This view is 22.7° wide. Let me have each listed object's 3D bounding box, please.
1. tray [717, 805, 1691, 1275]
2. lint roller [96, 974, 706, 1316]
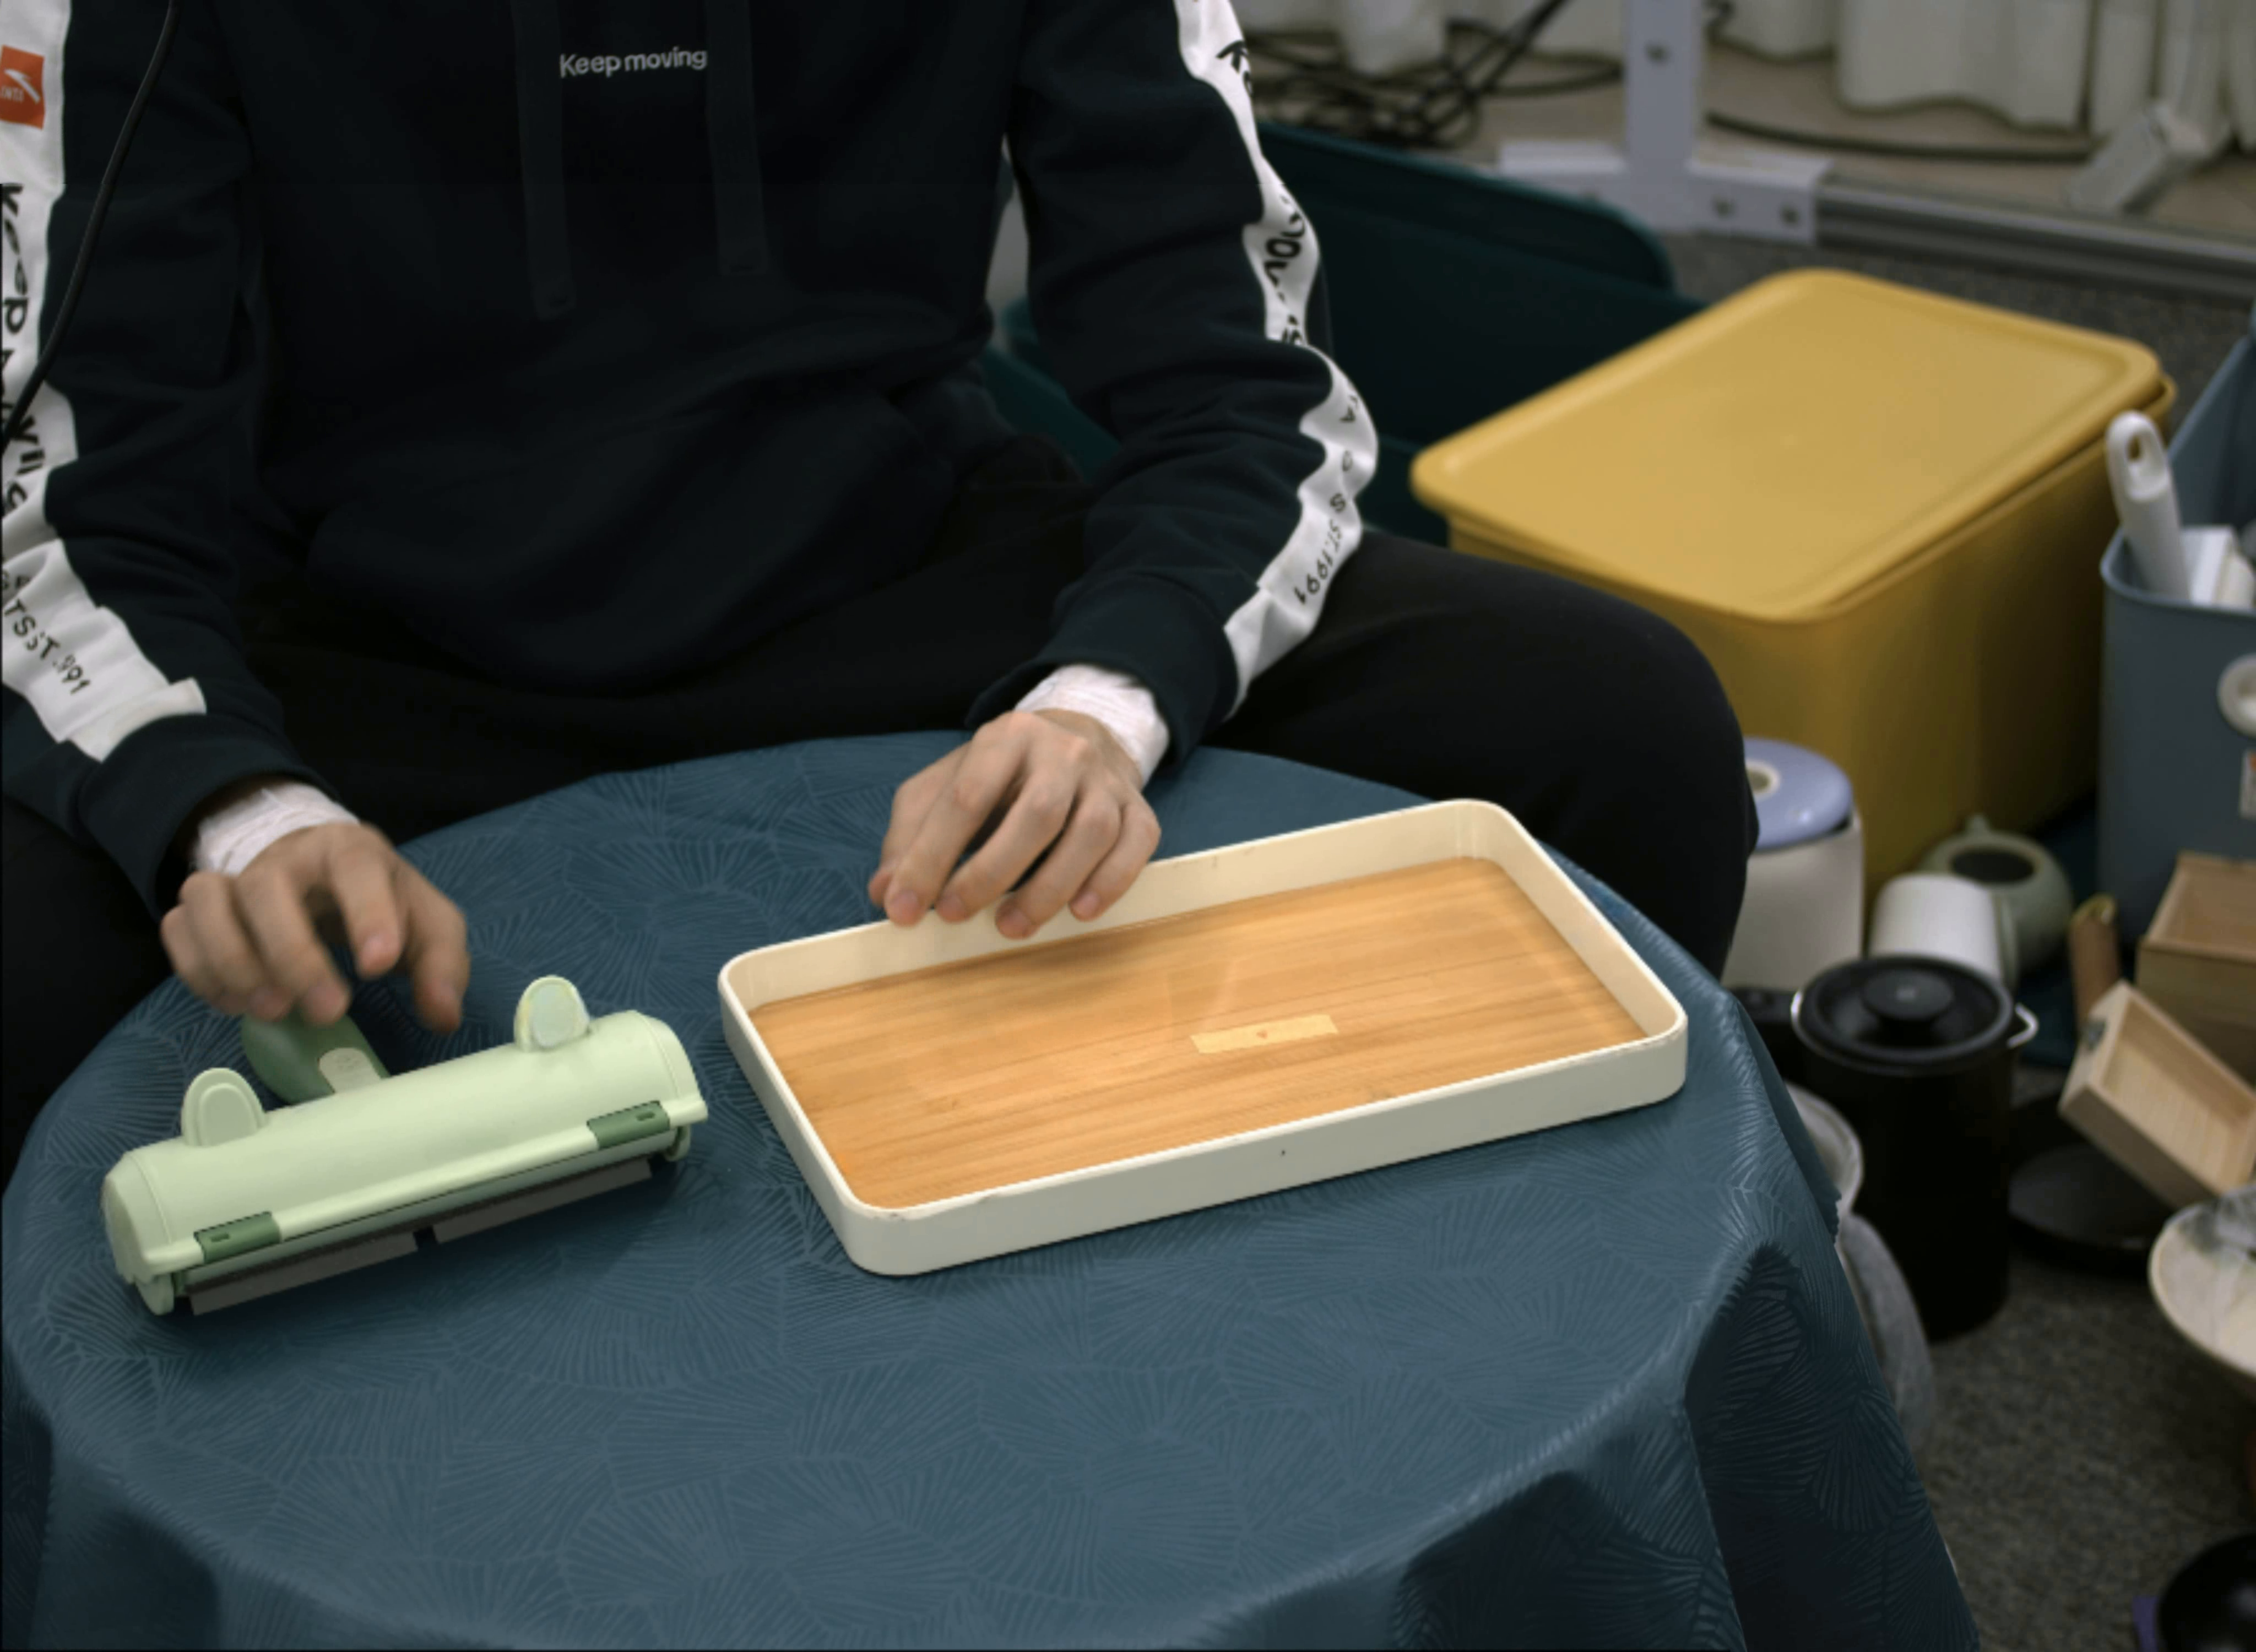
[{"bbox_3d":[0.024,0.070,1.929,0.301,0.027,0.193,-12,28,-16],"label":"tray"},{"bbox_3d":[-0.263,0.079,1.886,0.199,0.081,0.184,-15,34,-22],"label":"lint roller"}]
